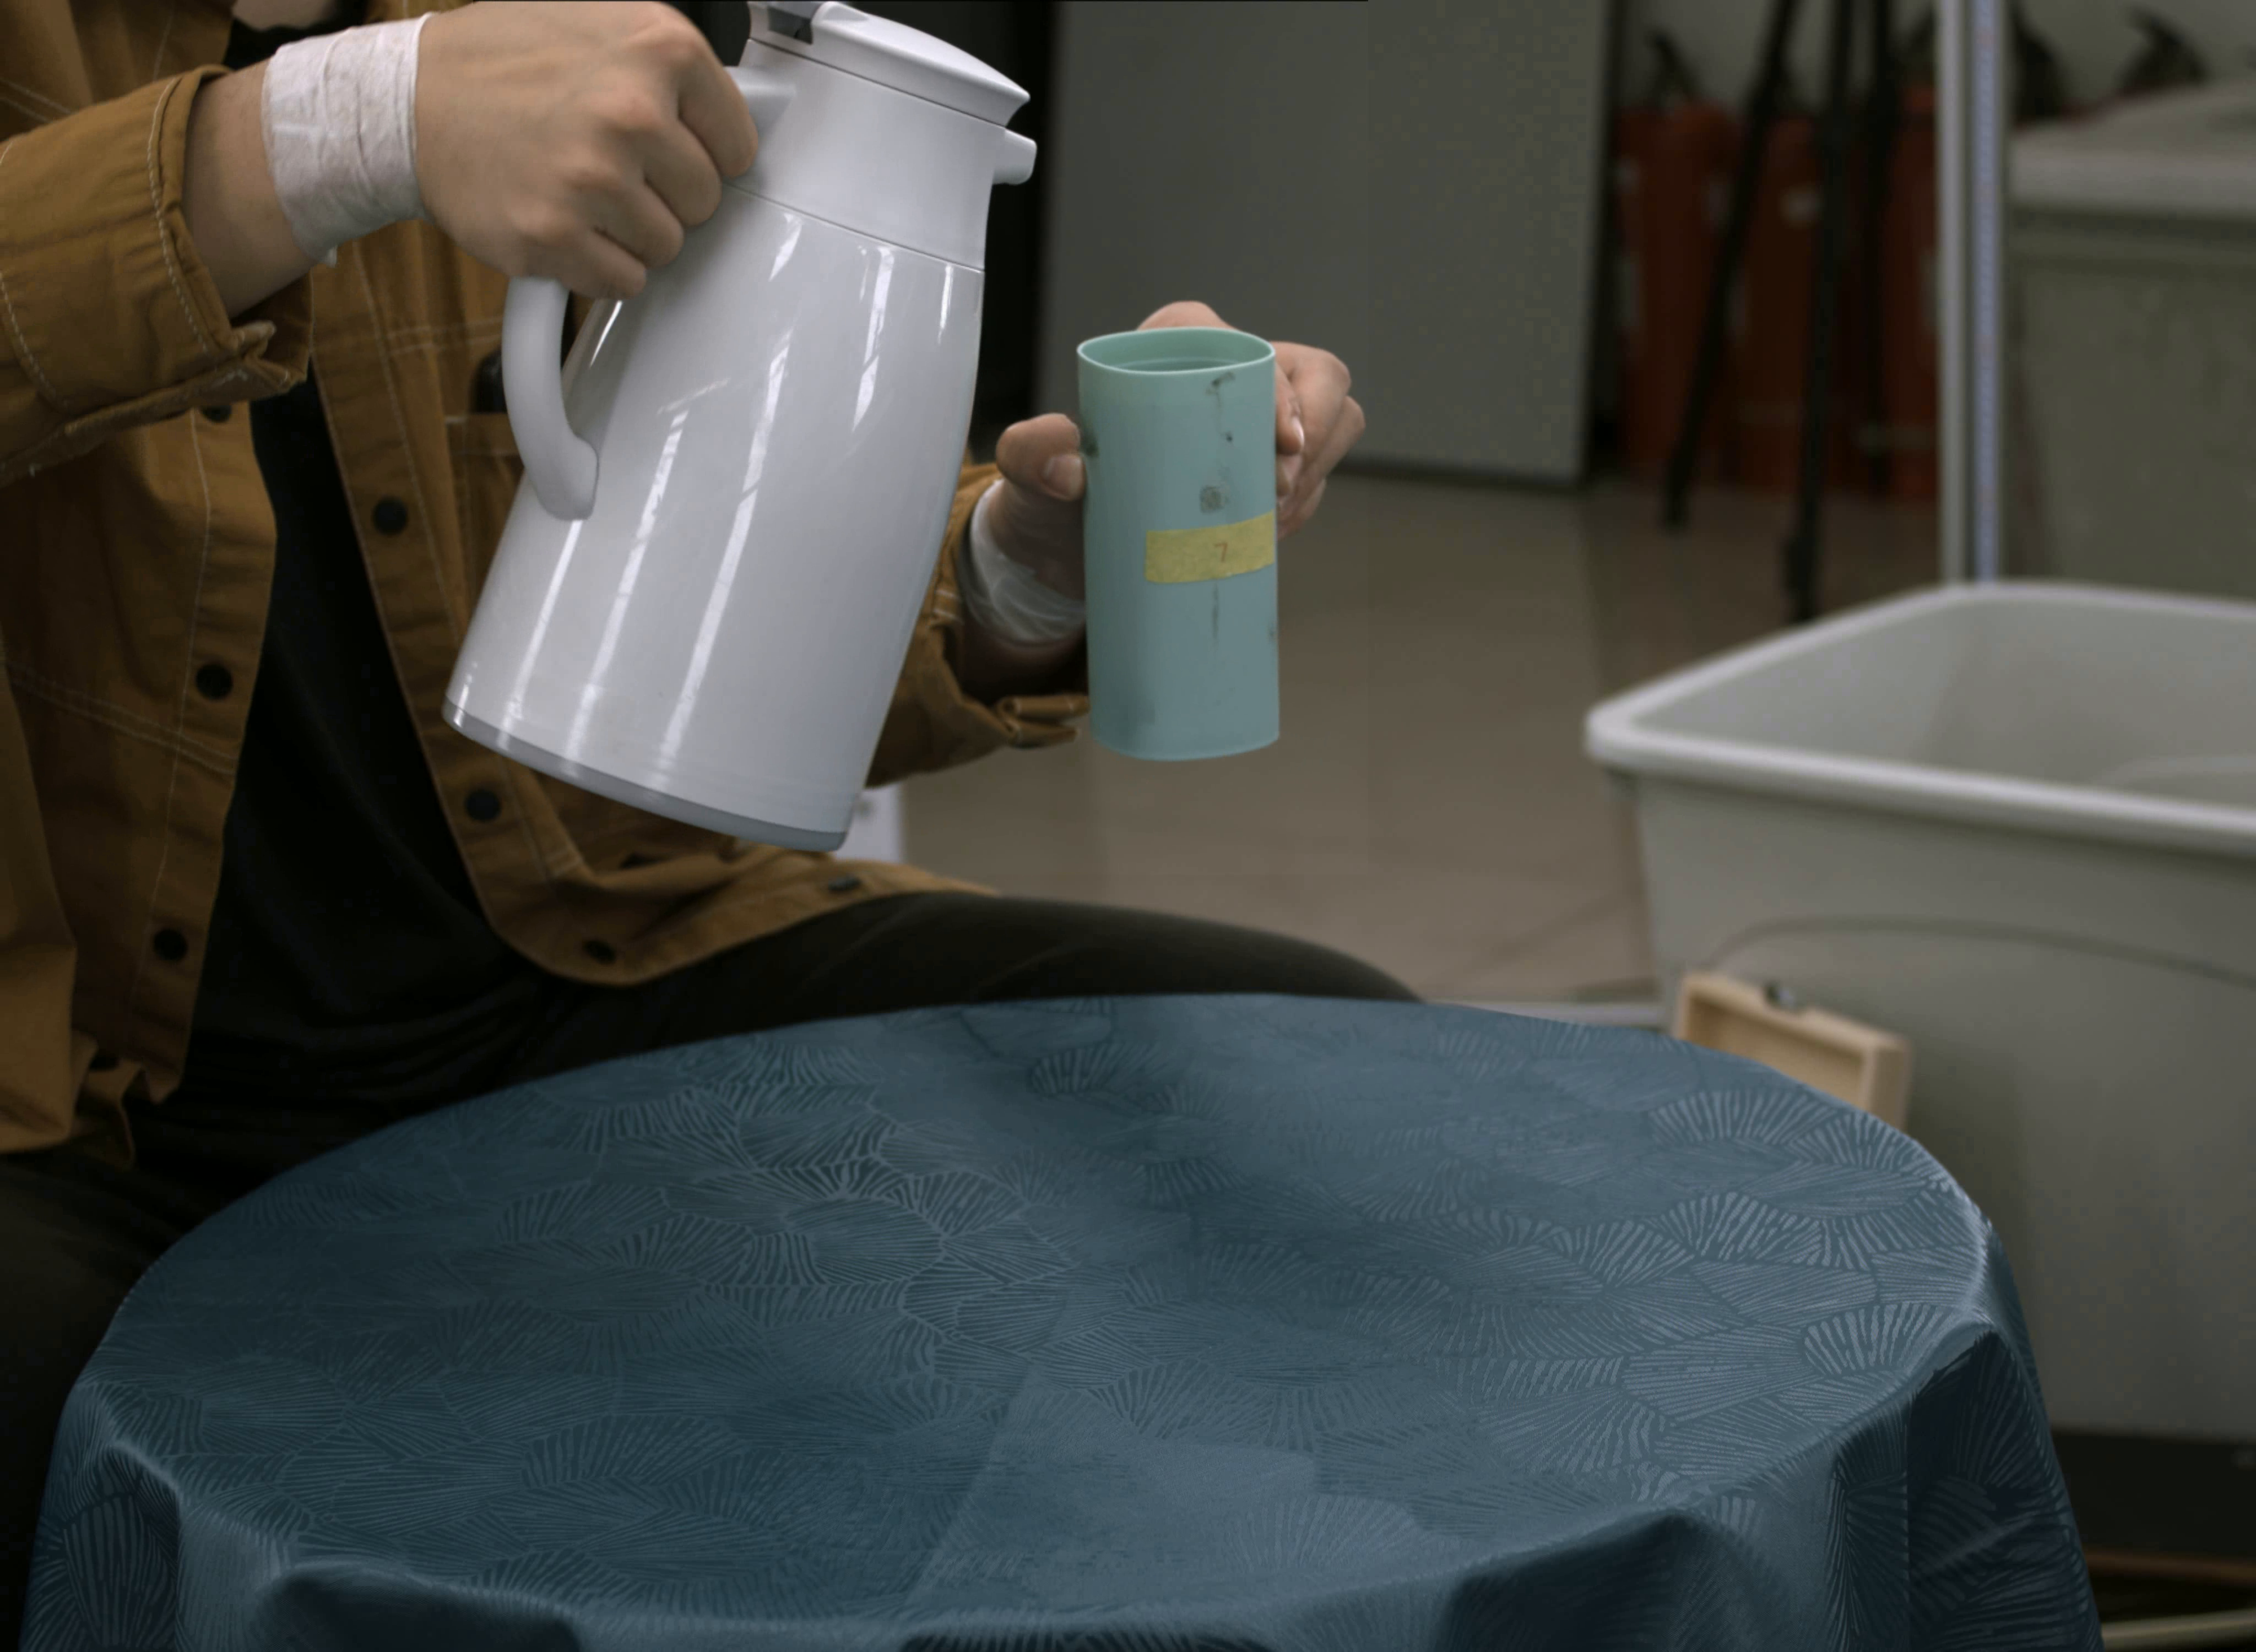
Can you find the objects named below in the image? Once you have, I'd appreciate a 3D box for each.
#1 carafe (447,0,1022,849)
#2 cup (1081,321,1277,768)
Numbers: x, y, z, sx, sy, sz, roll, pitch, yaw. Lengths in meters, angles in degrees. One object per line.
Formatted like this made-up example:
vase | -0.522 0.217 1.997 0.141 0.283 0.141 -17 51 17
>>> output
carafe | -0.124 -0.134 1.646 0.164 0.251 0.134 11 10 -43
cup | 0.017 -0.092 1.755 0.066 0.134 0.067 -1 18 -1
